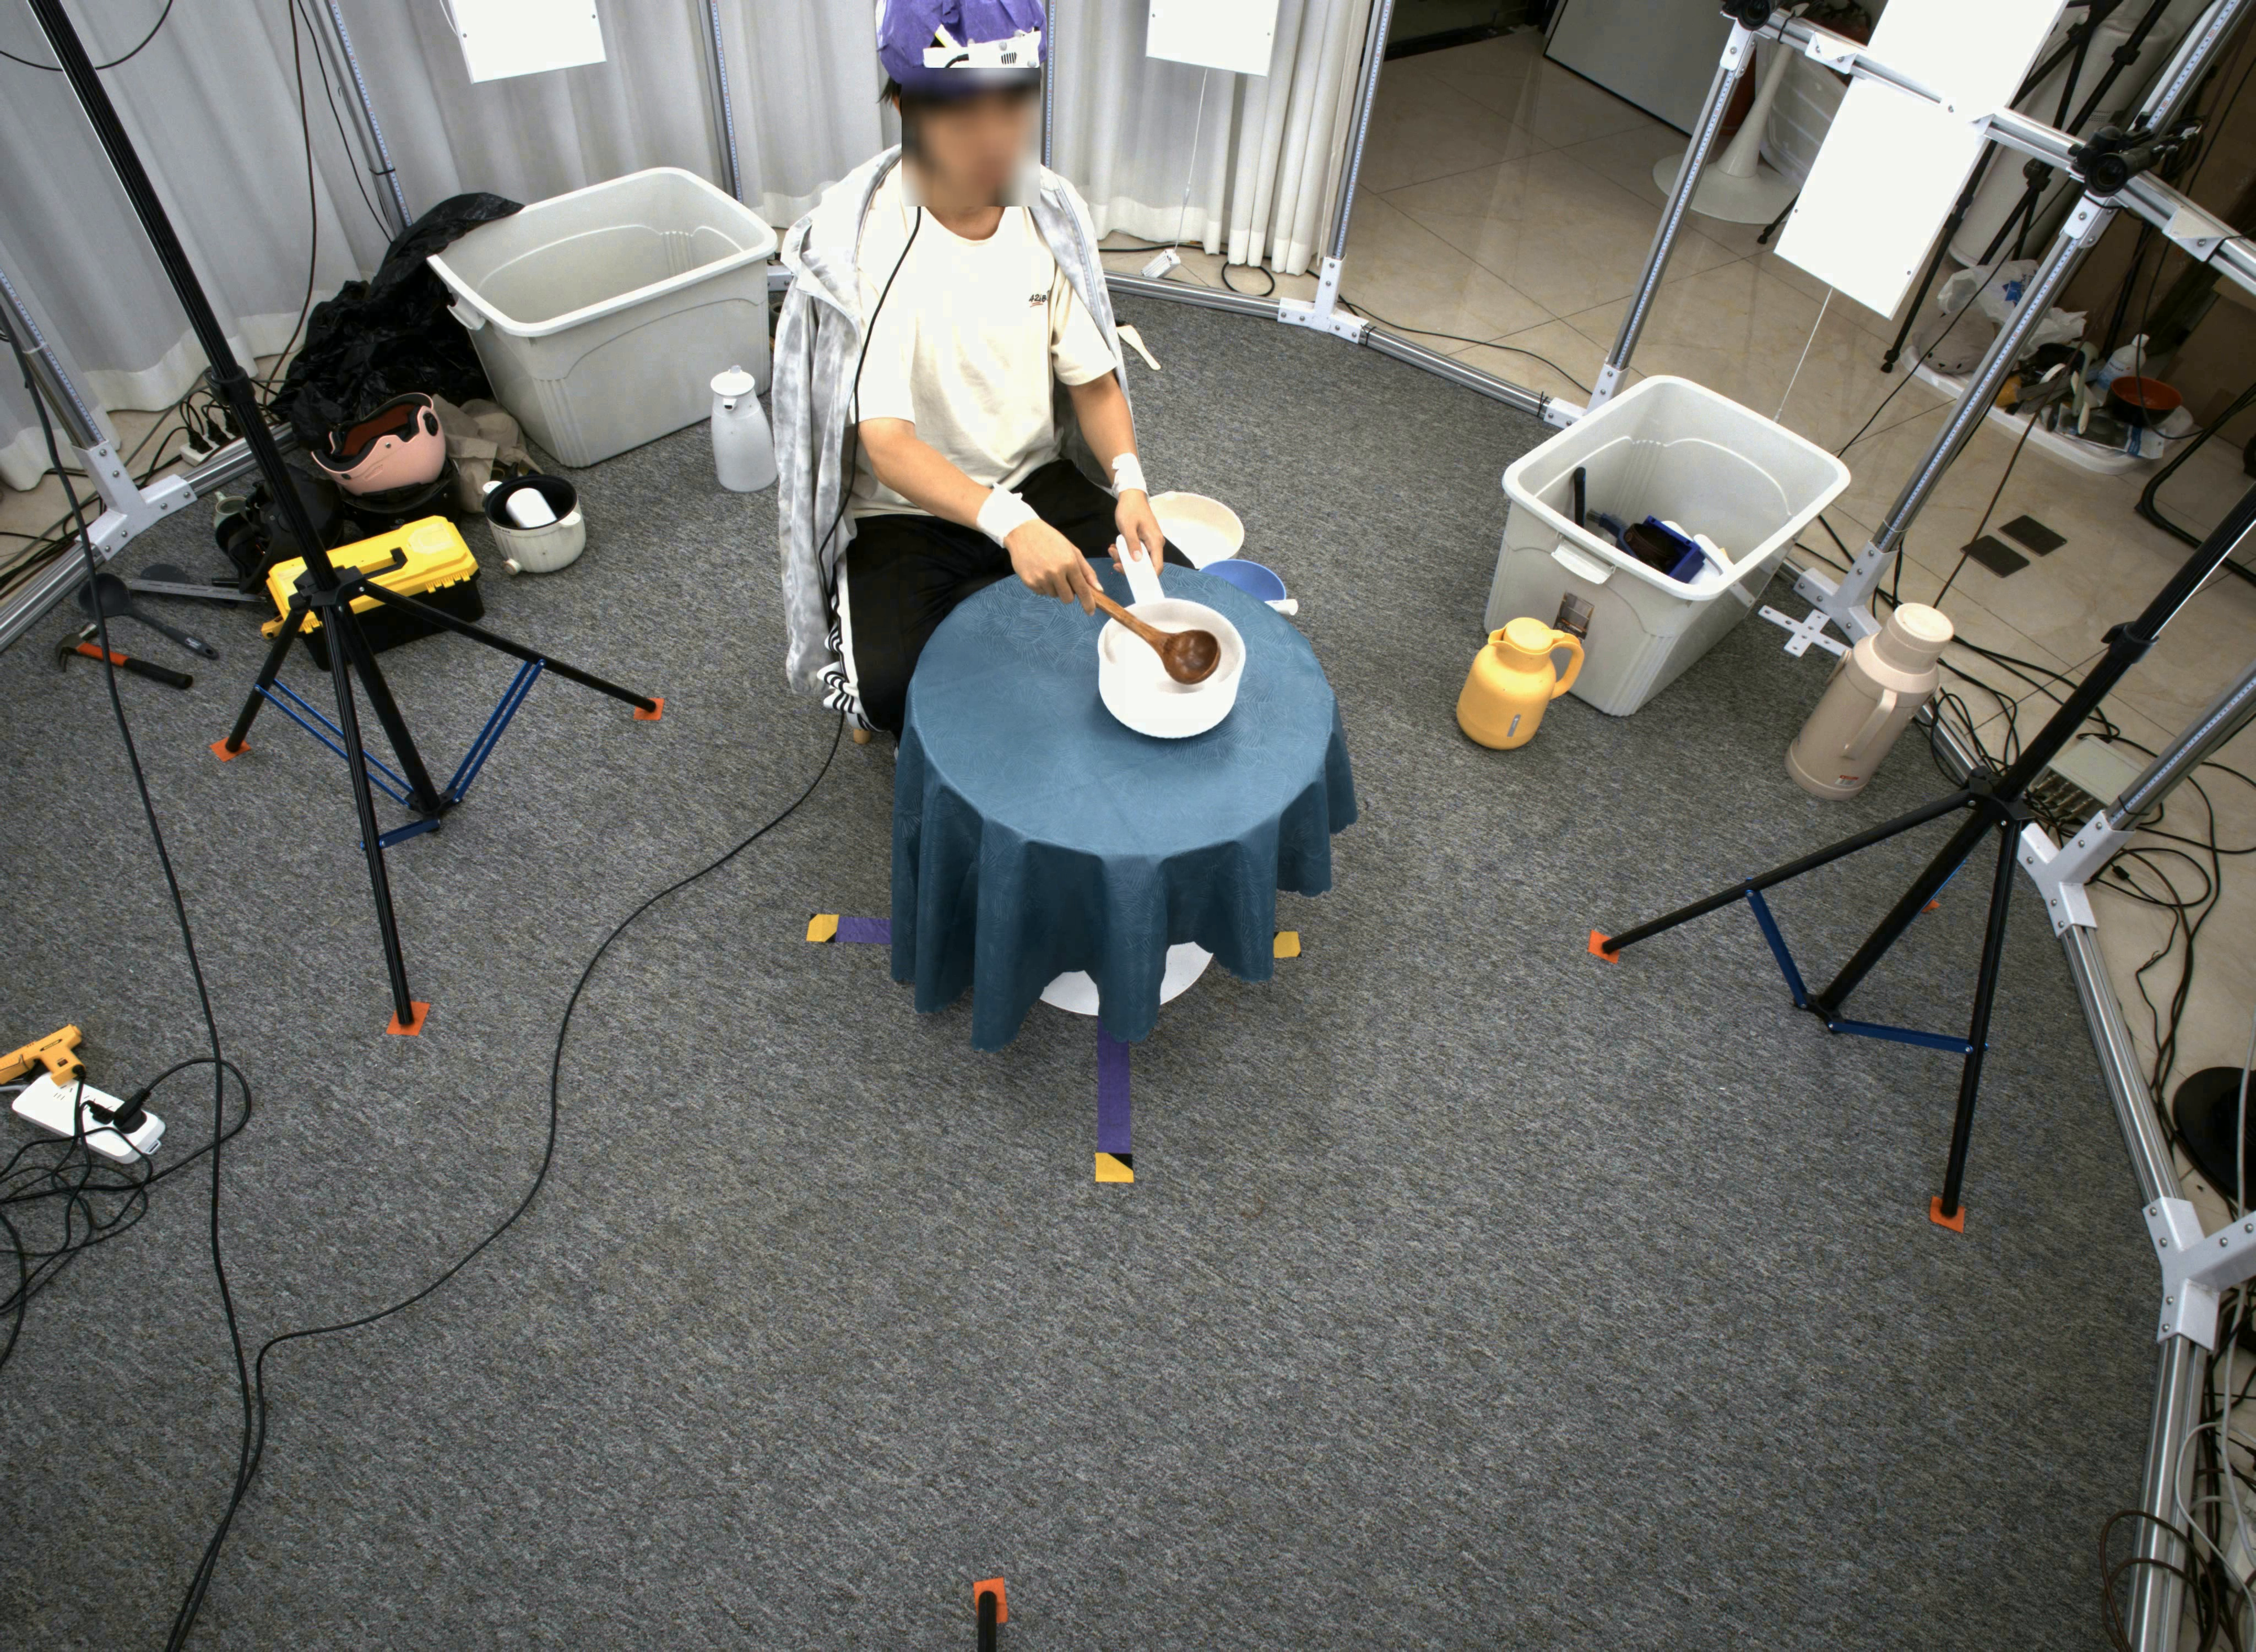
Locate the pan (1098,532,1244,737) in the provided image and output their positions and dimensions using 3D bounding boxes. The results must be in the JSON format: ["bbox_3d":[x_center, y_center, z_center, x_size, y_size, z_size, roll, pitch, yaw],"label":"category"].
[{"bbox_3d":[0.041,-0.274,1.838,0.201,0.099,0.364,-8,49,-10],"label":"pan"}]

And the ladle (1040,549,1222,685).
[{"bbox_3d":[0.005,-0.284,1.713,0.271,0.076,0.083,34,73,-18],"label":"ladle"}]
